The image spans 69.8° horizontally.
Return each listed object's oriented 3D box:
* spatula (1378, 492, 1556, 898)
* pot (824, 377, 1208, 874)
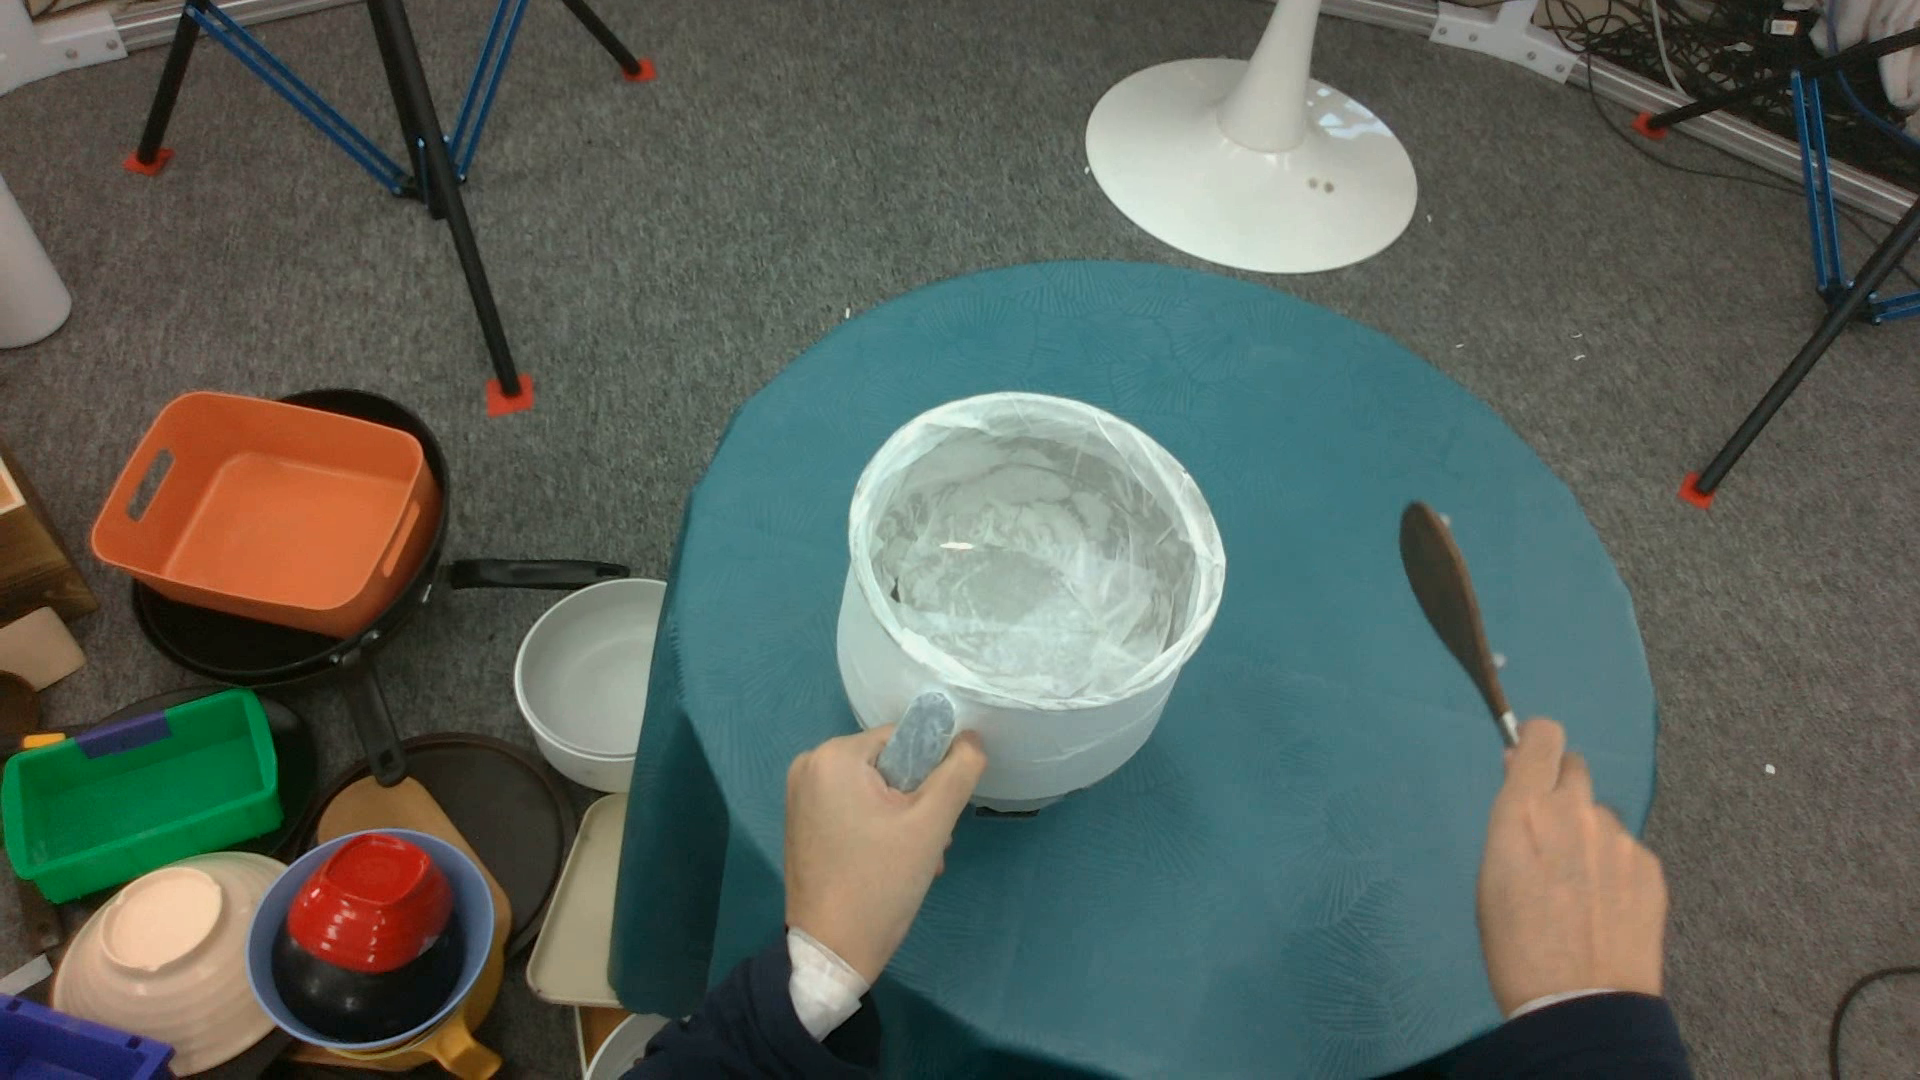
[{"bbox_3d":[0.243,0.068,0.664,0.009,0.071,0.216,-13,56,2],"label":"spatula"},{"bbox_3d":[0.010,0.047,0.673,0.178,0.136,0.235,24,55,10],"label":"pot"}]
